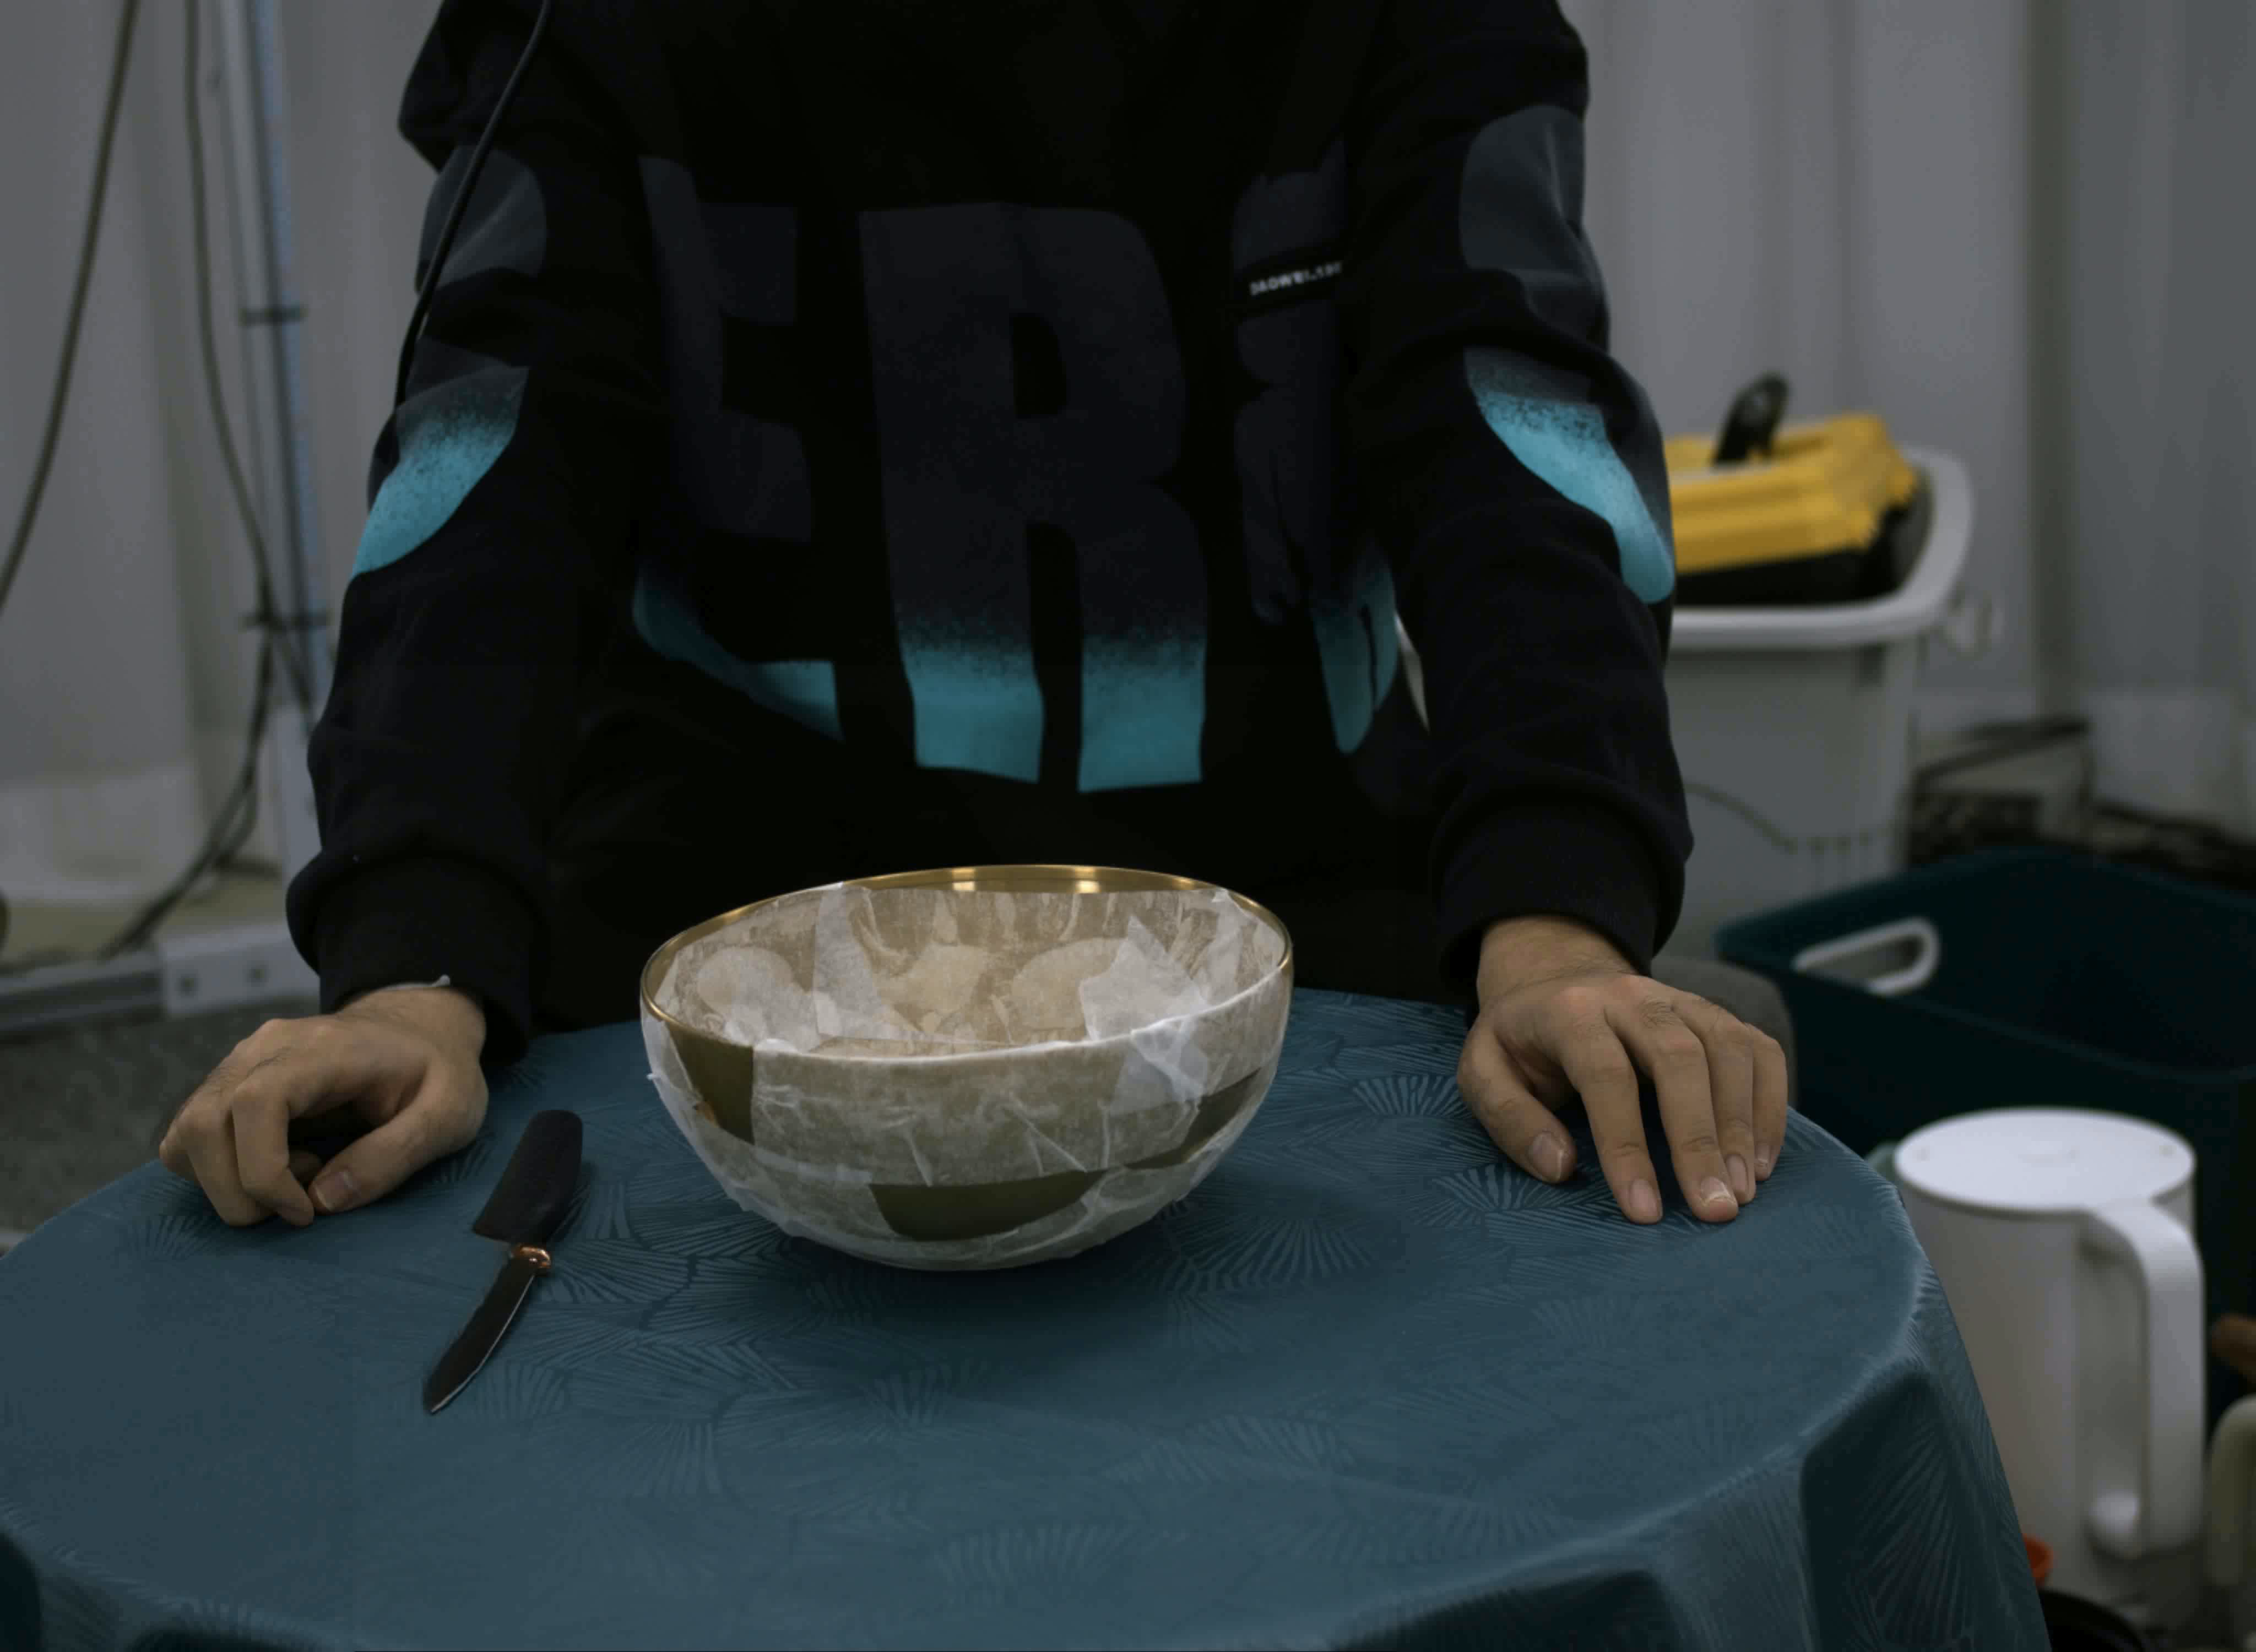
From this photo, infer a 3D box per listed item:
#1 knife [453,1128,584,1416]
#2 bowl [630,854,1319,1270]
[{"bbox_3d":[-0.188,0.134,1.660,0.026,0.017,0.227,5,16,0],"label":"knife"},{"bbox_3d":[-0.045,0.080,1.673,0.214,0.094,0.216,-4,15,1],"label":"bowl"}]
